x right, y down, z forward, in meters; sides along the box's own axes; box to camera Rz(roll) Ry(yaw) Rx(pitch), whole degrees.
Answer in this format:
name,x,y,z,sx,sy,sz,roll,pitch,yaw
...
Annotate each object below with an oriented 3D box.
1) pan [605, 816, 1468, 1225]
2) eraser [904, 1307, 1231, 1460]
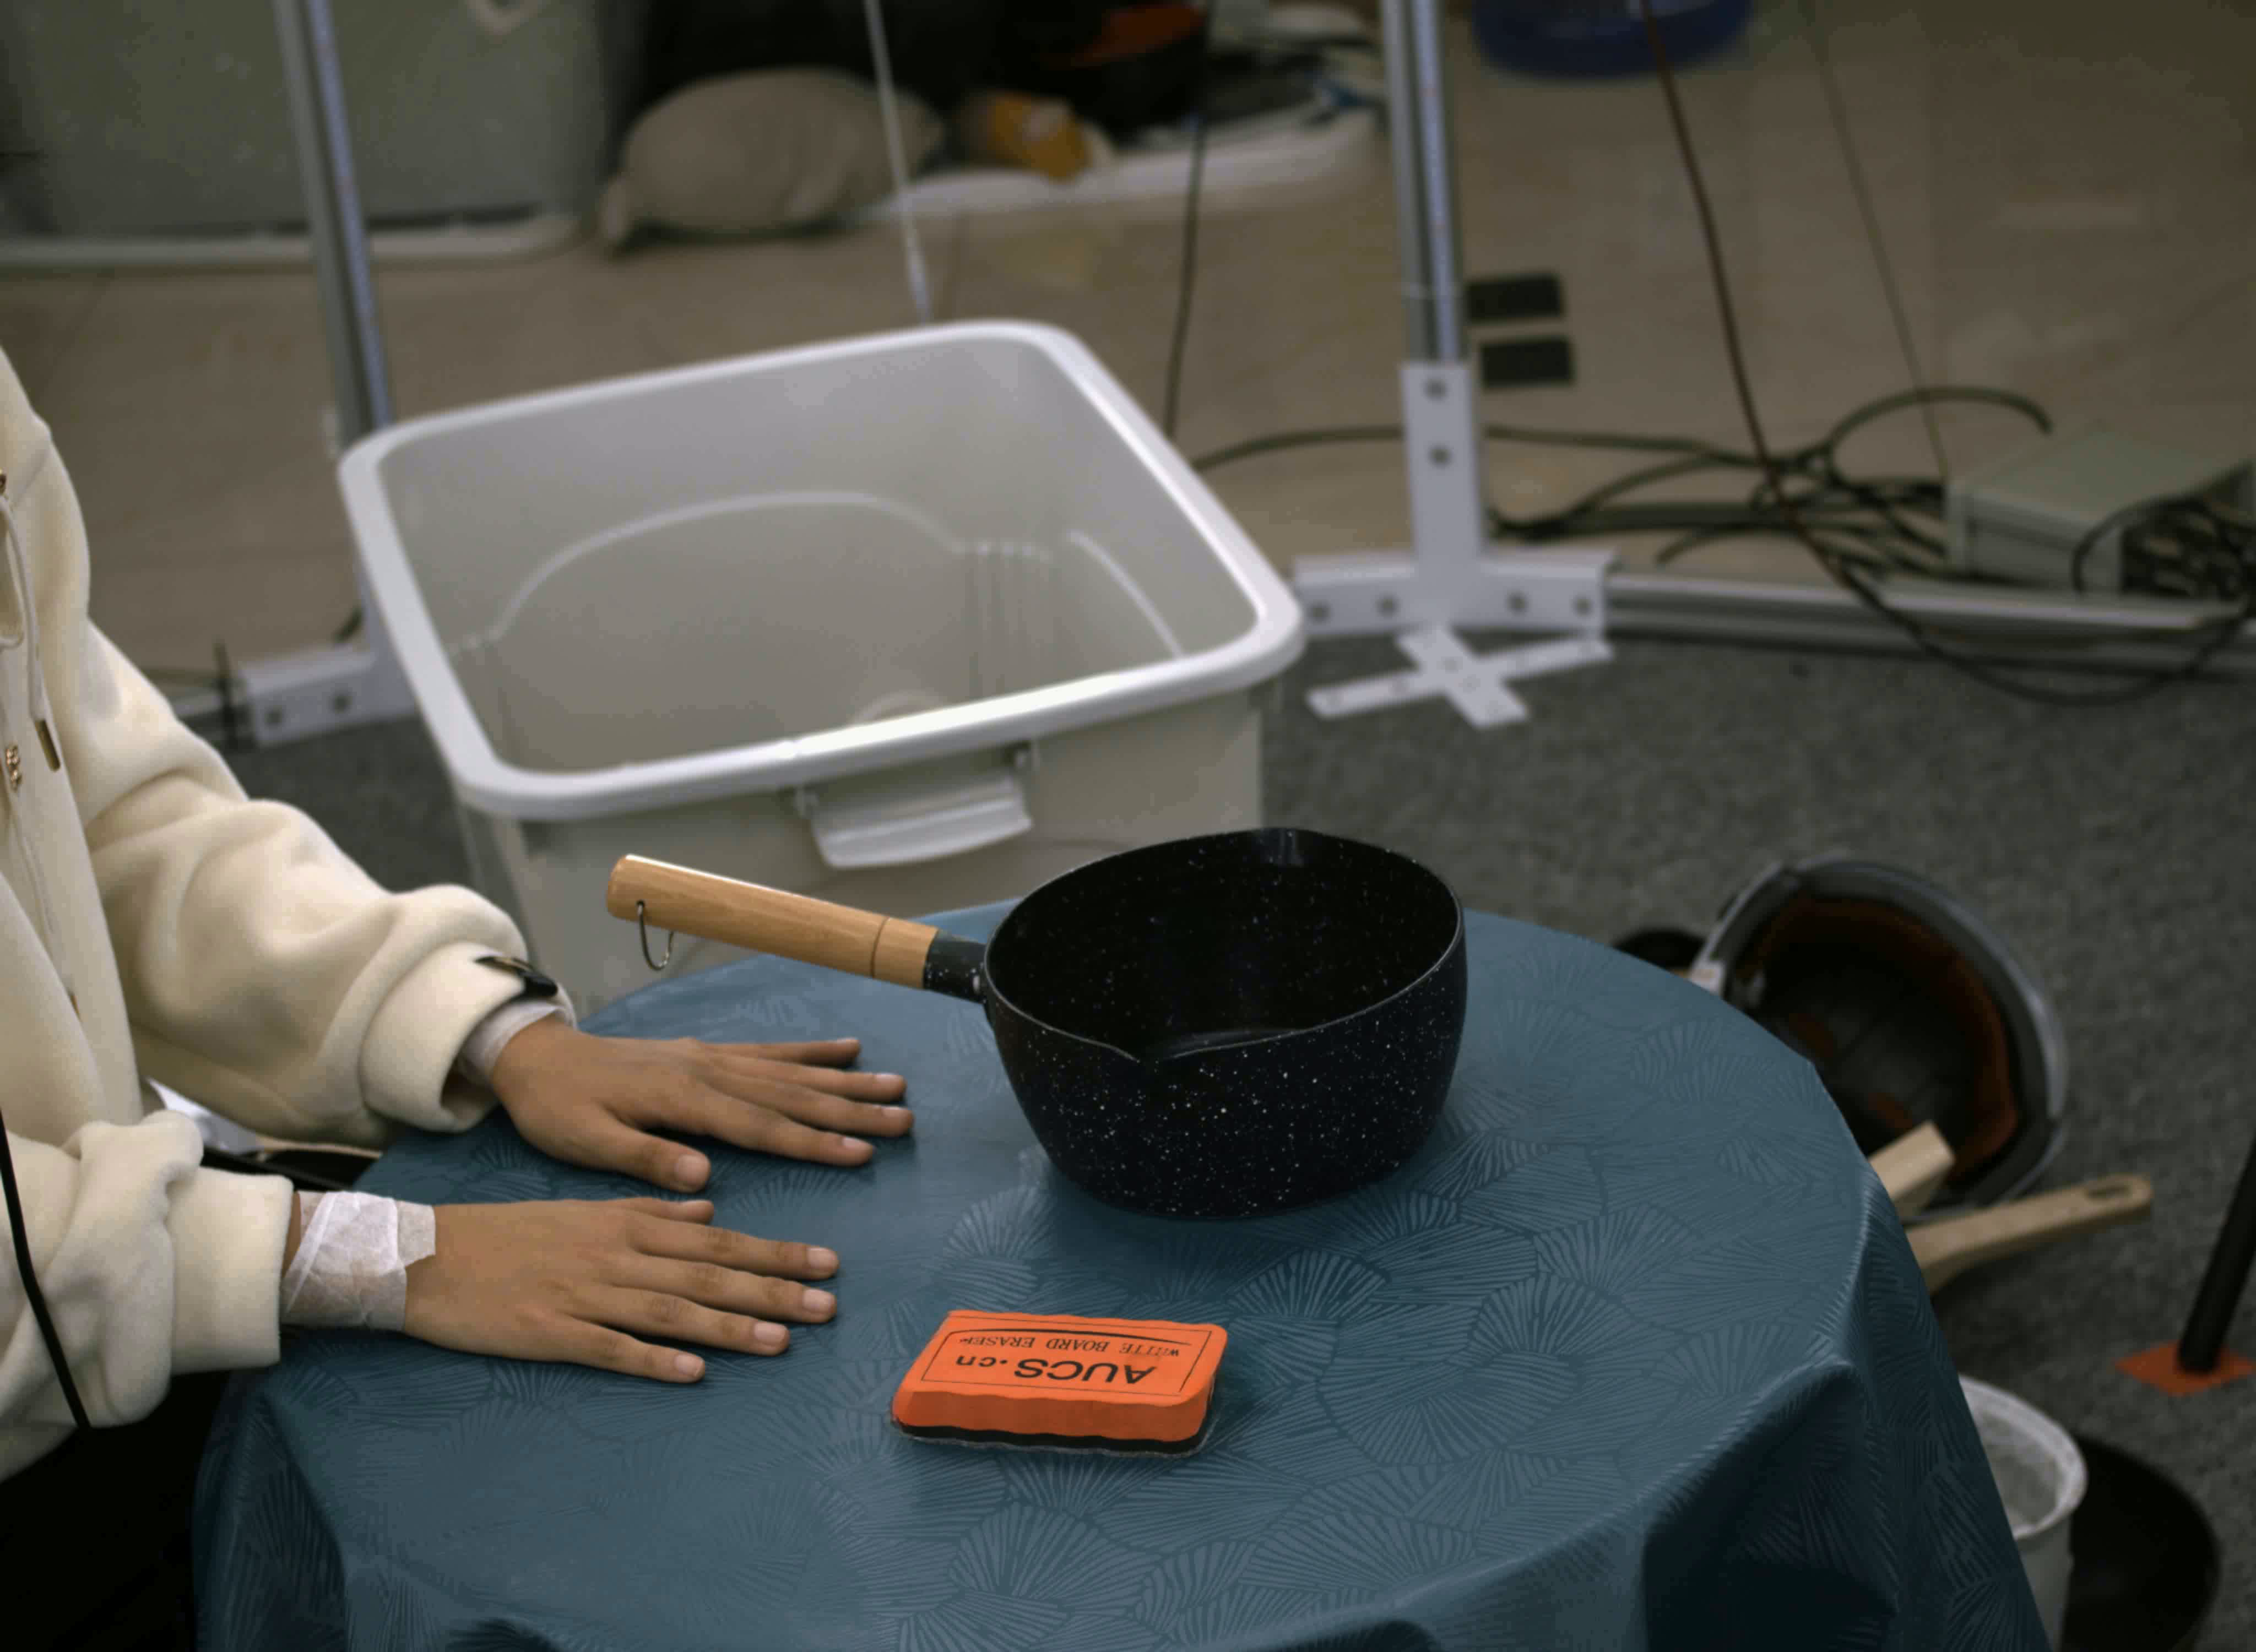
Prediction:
name,x,y,z,sx,sy,sz,roll,pitch,yaw
pan,-0.038,0.067,2.183,0.342,0.110,0.204,3,28,15
eraser,-0.021,0.196,2.002,0.108,0.023,0.058,3,27,19
